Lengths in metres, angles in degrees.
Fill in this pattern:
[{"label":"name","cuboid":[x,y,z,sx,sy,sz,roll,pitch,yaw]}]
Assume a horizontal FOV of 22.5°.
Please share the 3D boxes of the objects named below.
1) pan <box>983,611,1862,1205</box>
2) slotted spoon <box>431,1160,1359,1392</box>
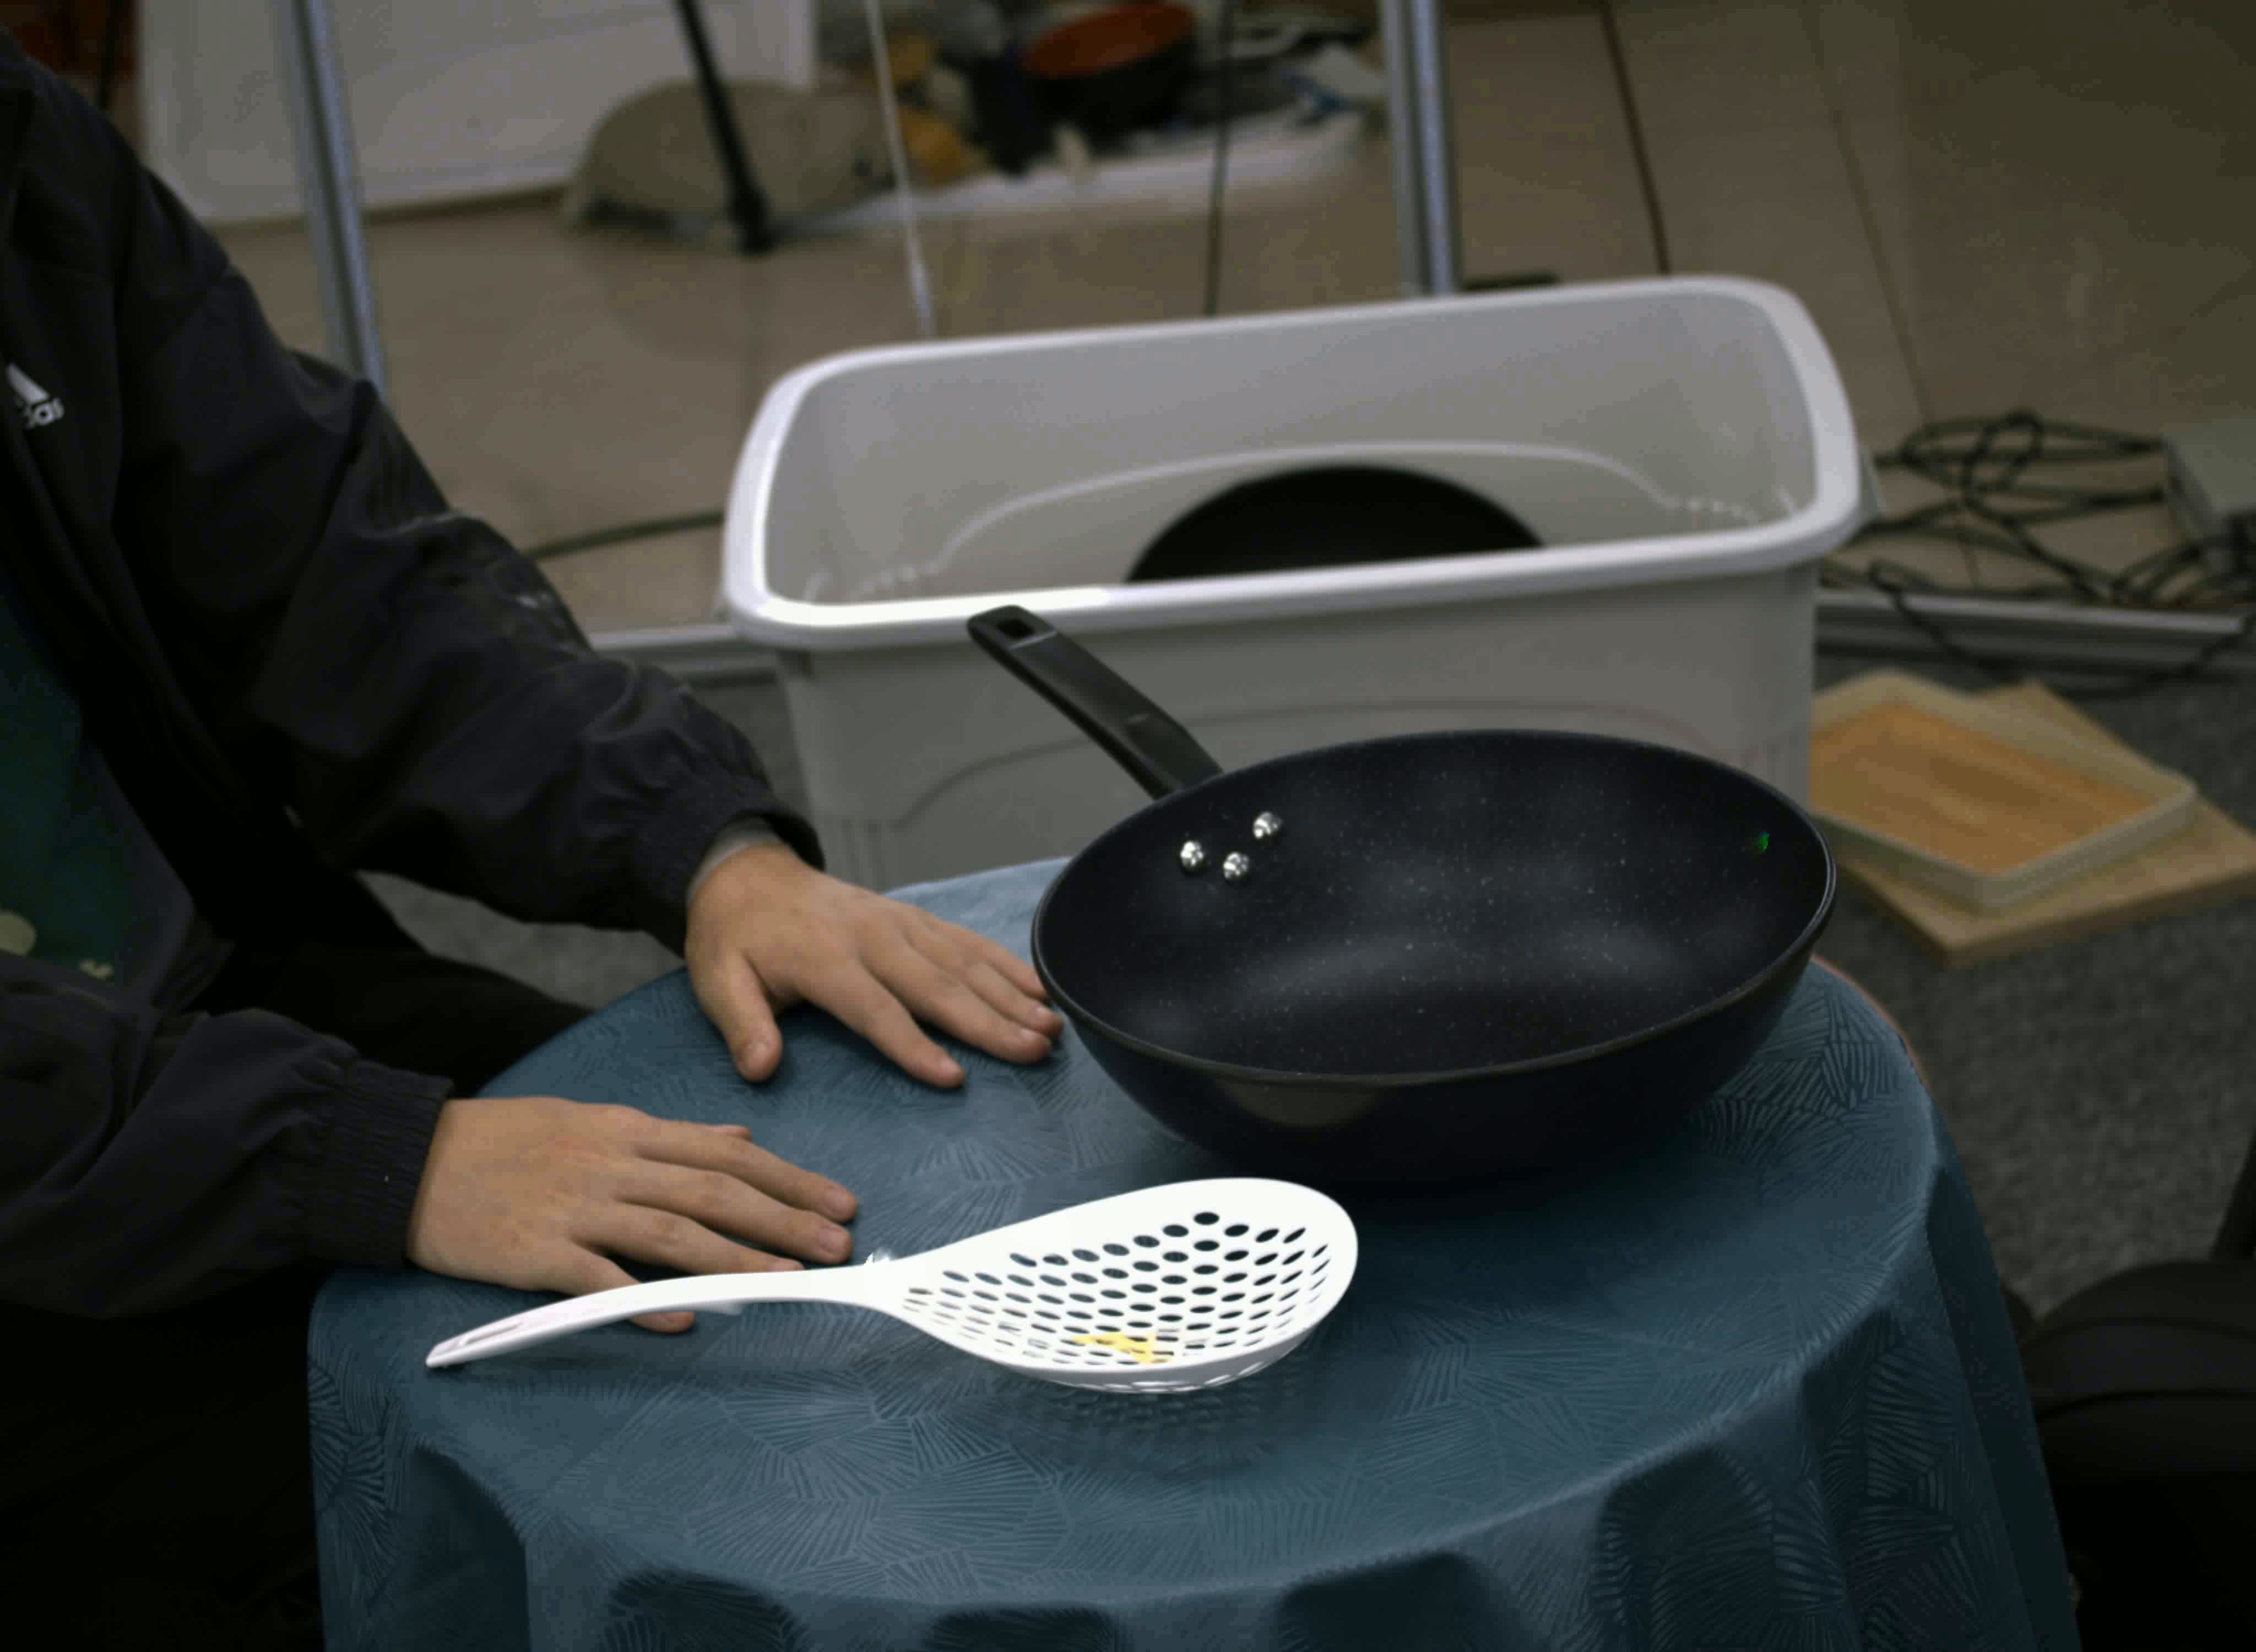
[{"label":"pan","cuboid":[0.080,0.032,2.232,0.308,0.113,0.472,-19,28,-28]},{"label":"slotted spoon","cuboid":[-0.087,0.175,2.042,0.347,0.051,0.135,-1,27,12]}]
